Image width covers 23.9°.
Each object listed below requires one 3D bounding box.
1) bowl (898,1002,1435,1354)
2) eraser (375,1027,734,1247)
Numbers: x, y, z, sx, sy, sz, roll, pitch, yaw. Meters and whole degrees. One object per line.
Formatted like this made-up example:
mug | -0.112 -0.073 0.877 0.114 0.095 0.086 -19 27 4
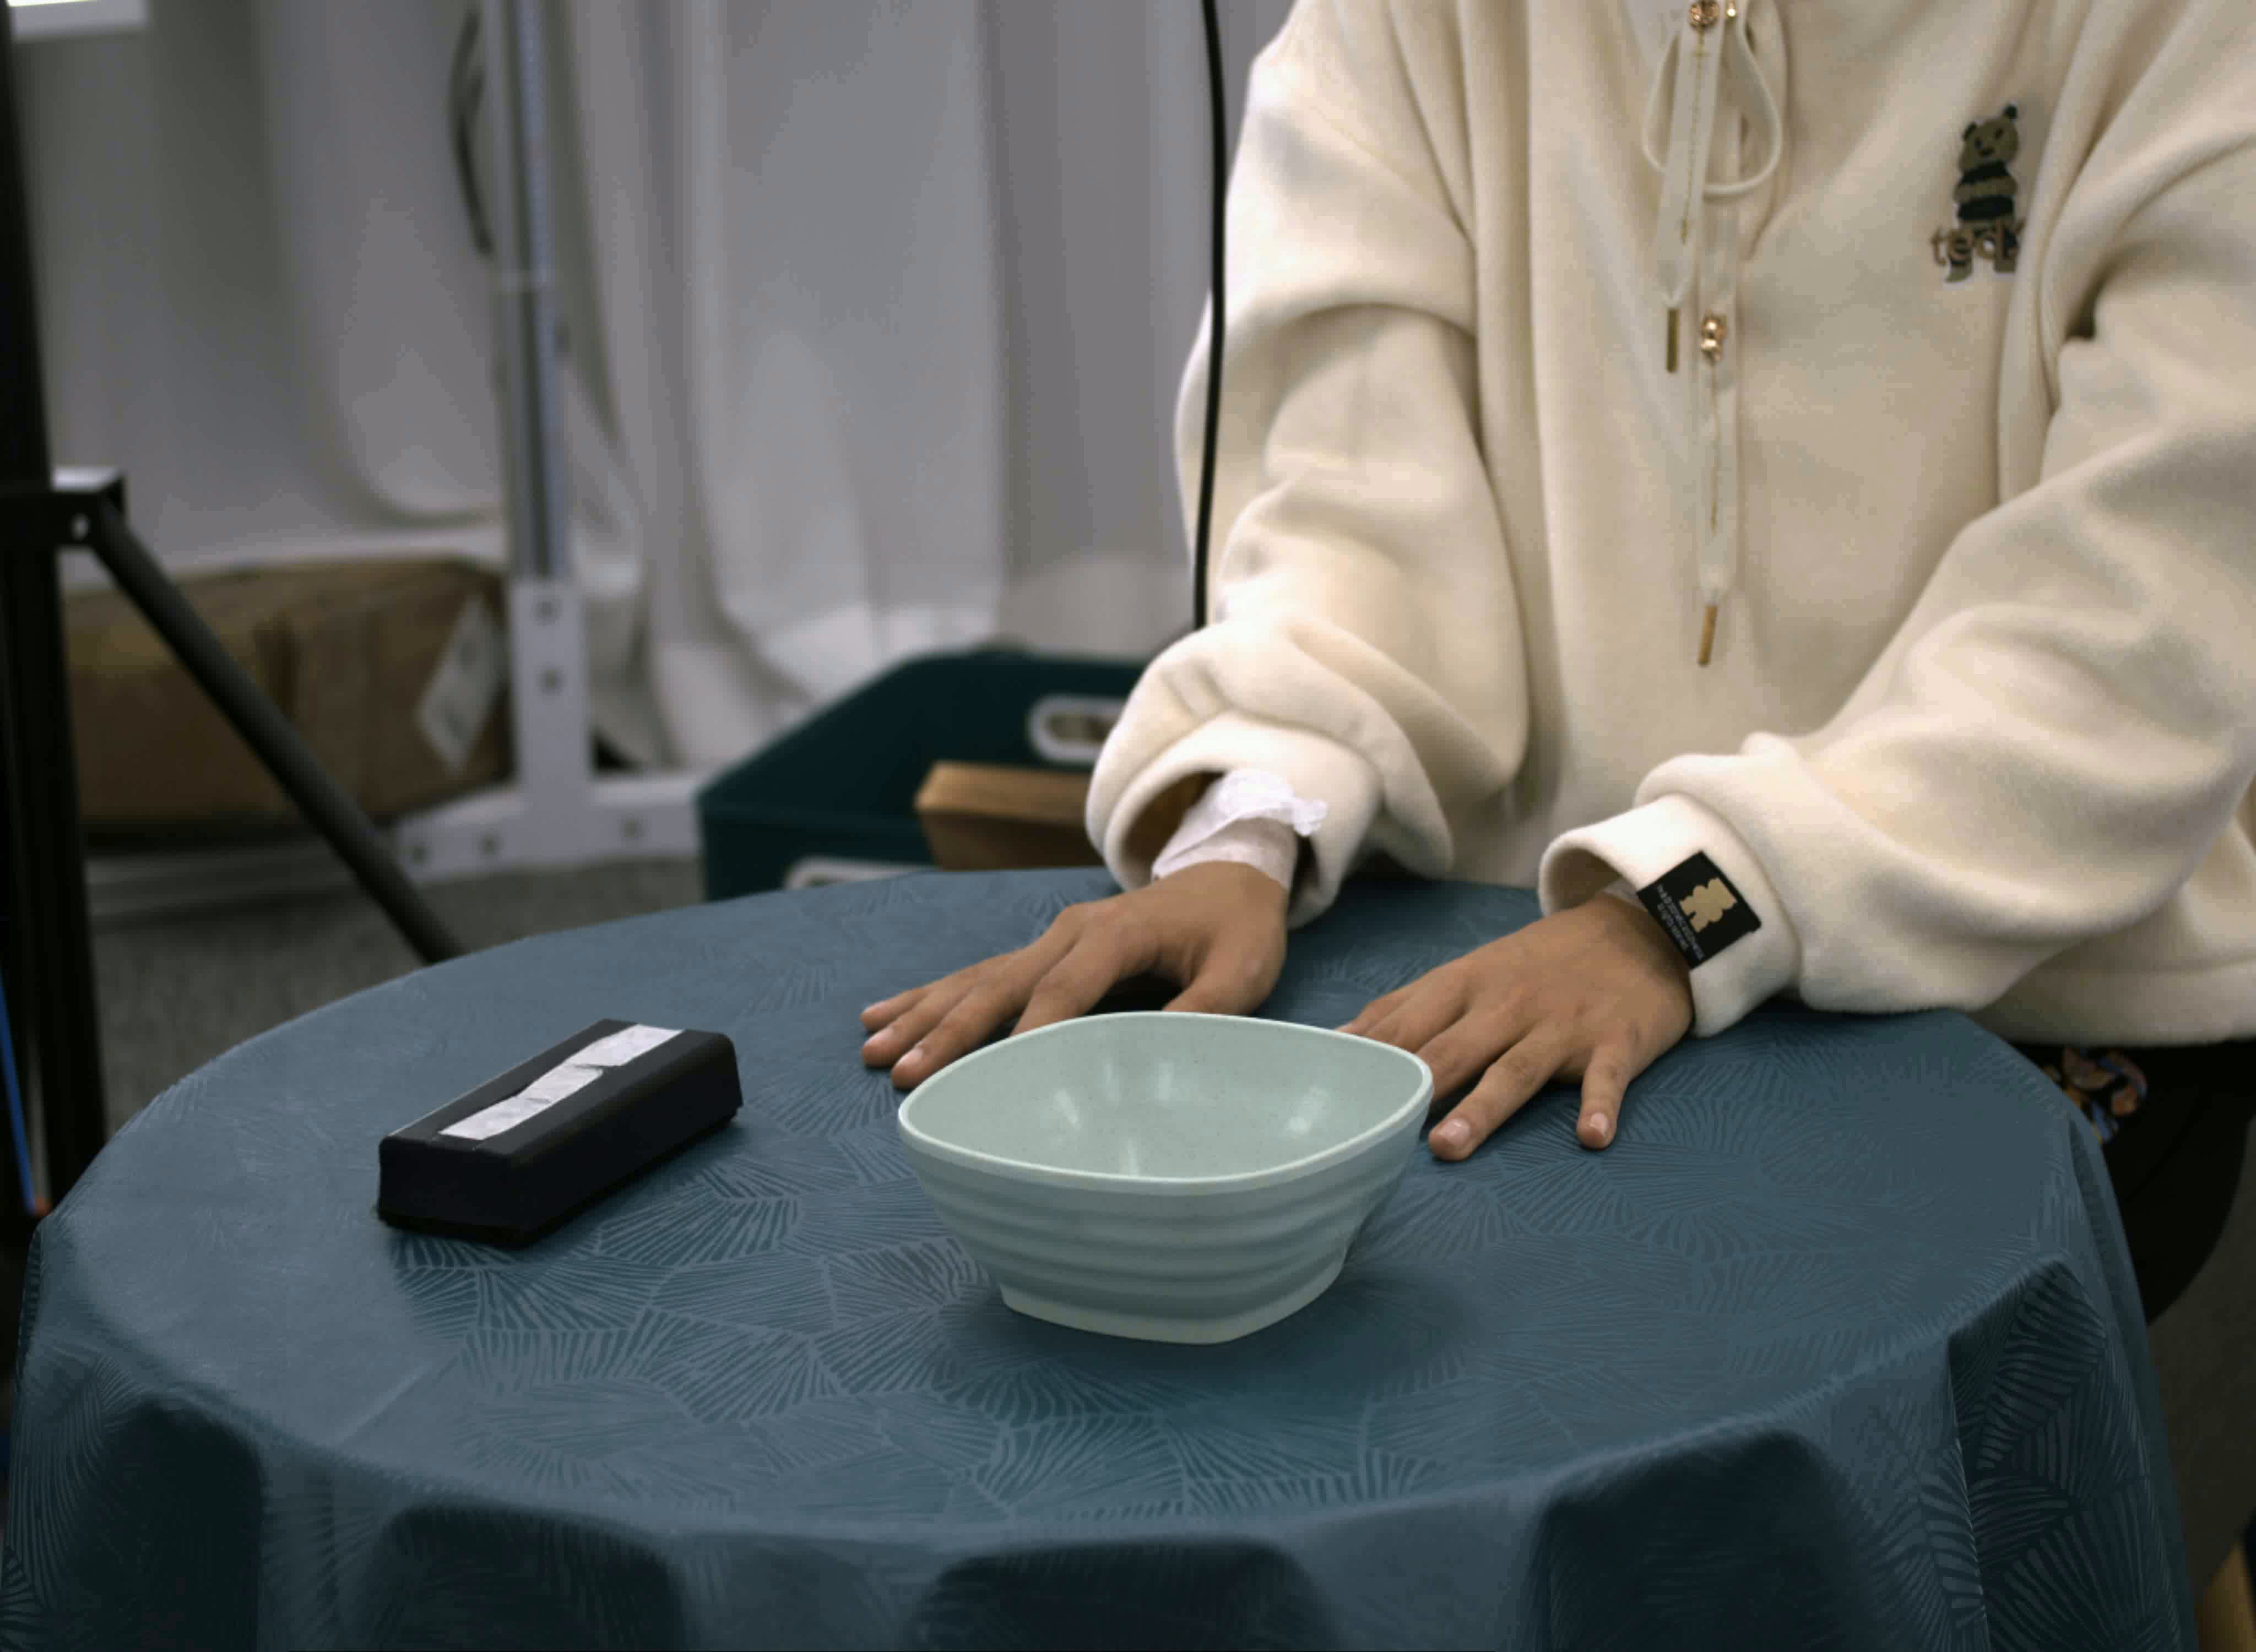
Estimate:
bowl | 0.011 0.101 1.476 0.150 0.058 0.152 -1 18 -1
eraser | -0.170 0.092 1.593 0.054 0.030 0.123 7 16 25
